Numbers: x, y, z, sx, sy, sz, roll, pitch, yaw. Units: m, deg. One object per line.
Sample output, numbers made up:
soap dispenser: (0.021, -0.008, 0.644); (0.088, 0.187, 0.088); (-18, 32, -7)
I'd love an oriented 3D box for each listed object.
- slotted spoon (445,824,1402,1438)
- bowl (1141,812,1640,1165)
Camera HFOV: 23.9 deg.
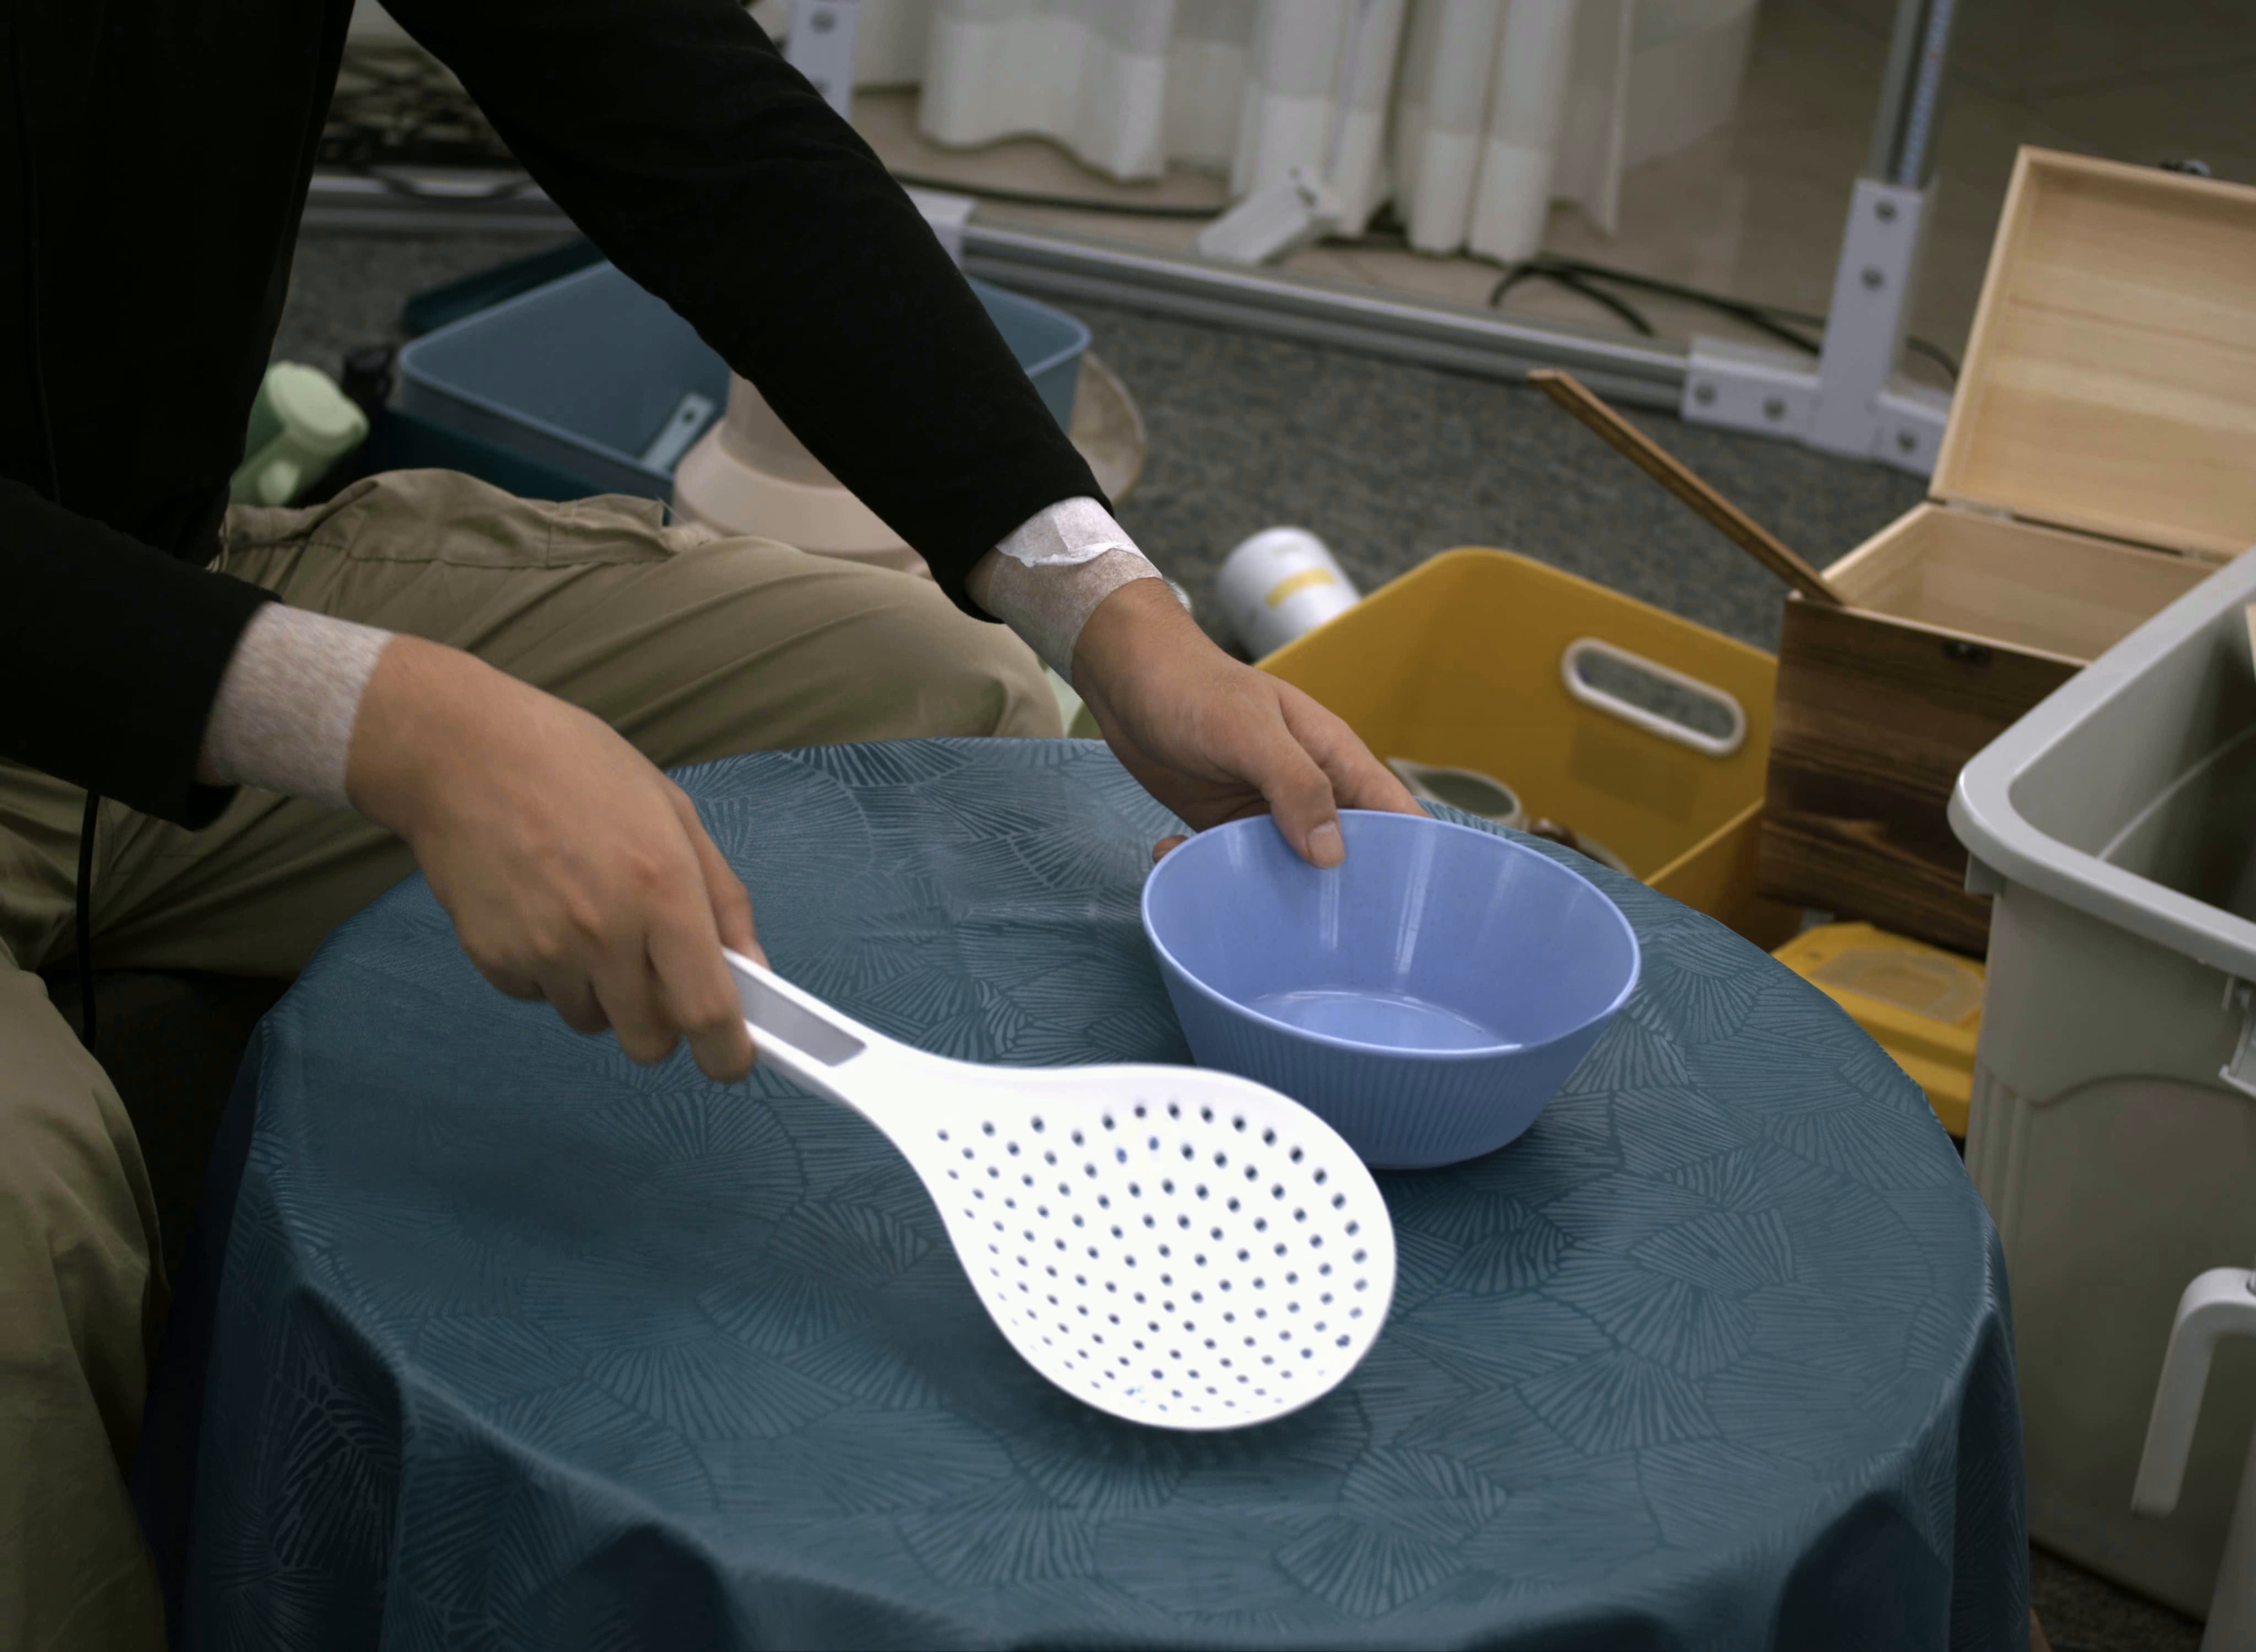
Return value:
slotted spoon: (-0.073, 0.090, 1.721); (0.350, 0.045, 0.136); (31, 55, 12)
bowl: (0.088, 0.062, 1.864); (0.175, 0.070, 0.177); (5, 26, -3)
